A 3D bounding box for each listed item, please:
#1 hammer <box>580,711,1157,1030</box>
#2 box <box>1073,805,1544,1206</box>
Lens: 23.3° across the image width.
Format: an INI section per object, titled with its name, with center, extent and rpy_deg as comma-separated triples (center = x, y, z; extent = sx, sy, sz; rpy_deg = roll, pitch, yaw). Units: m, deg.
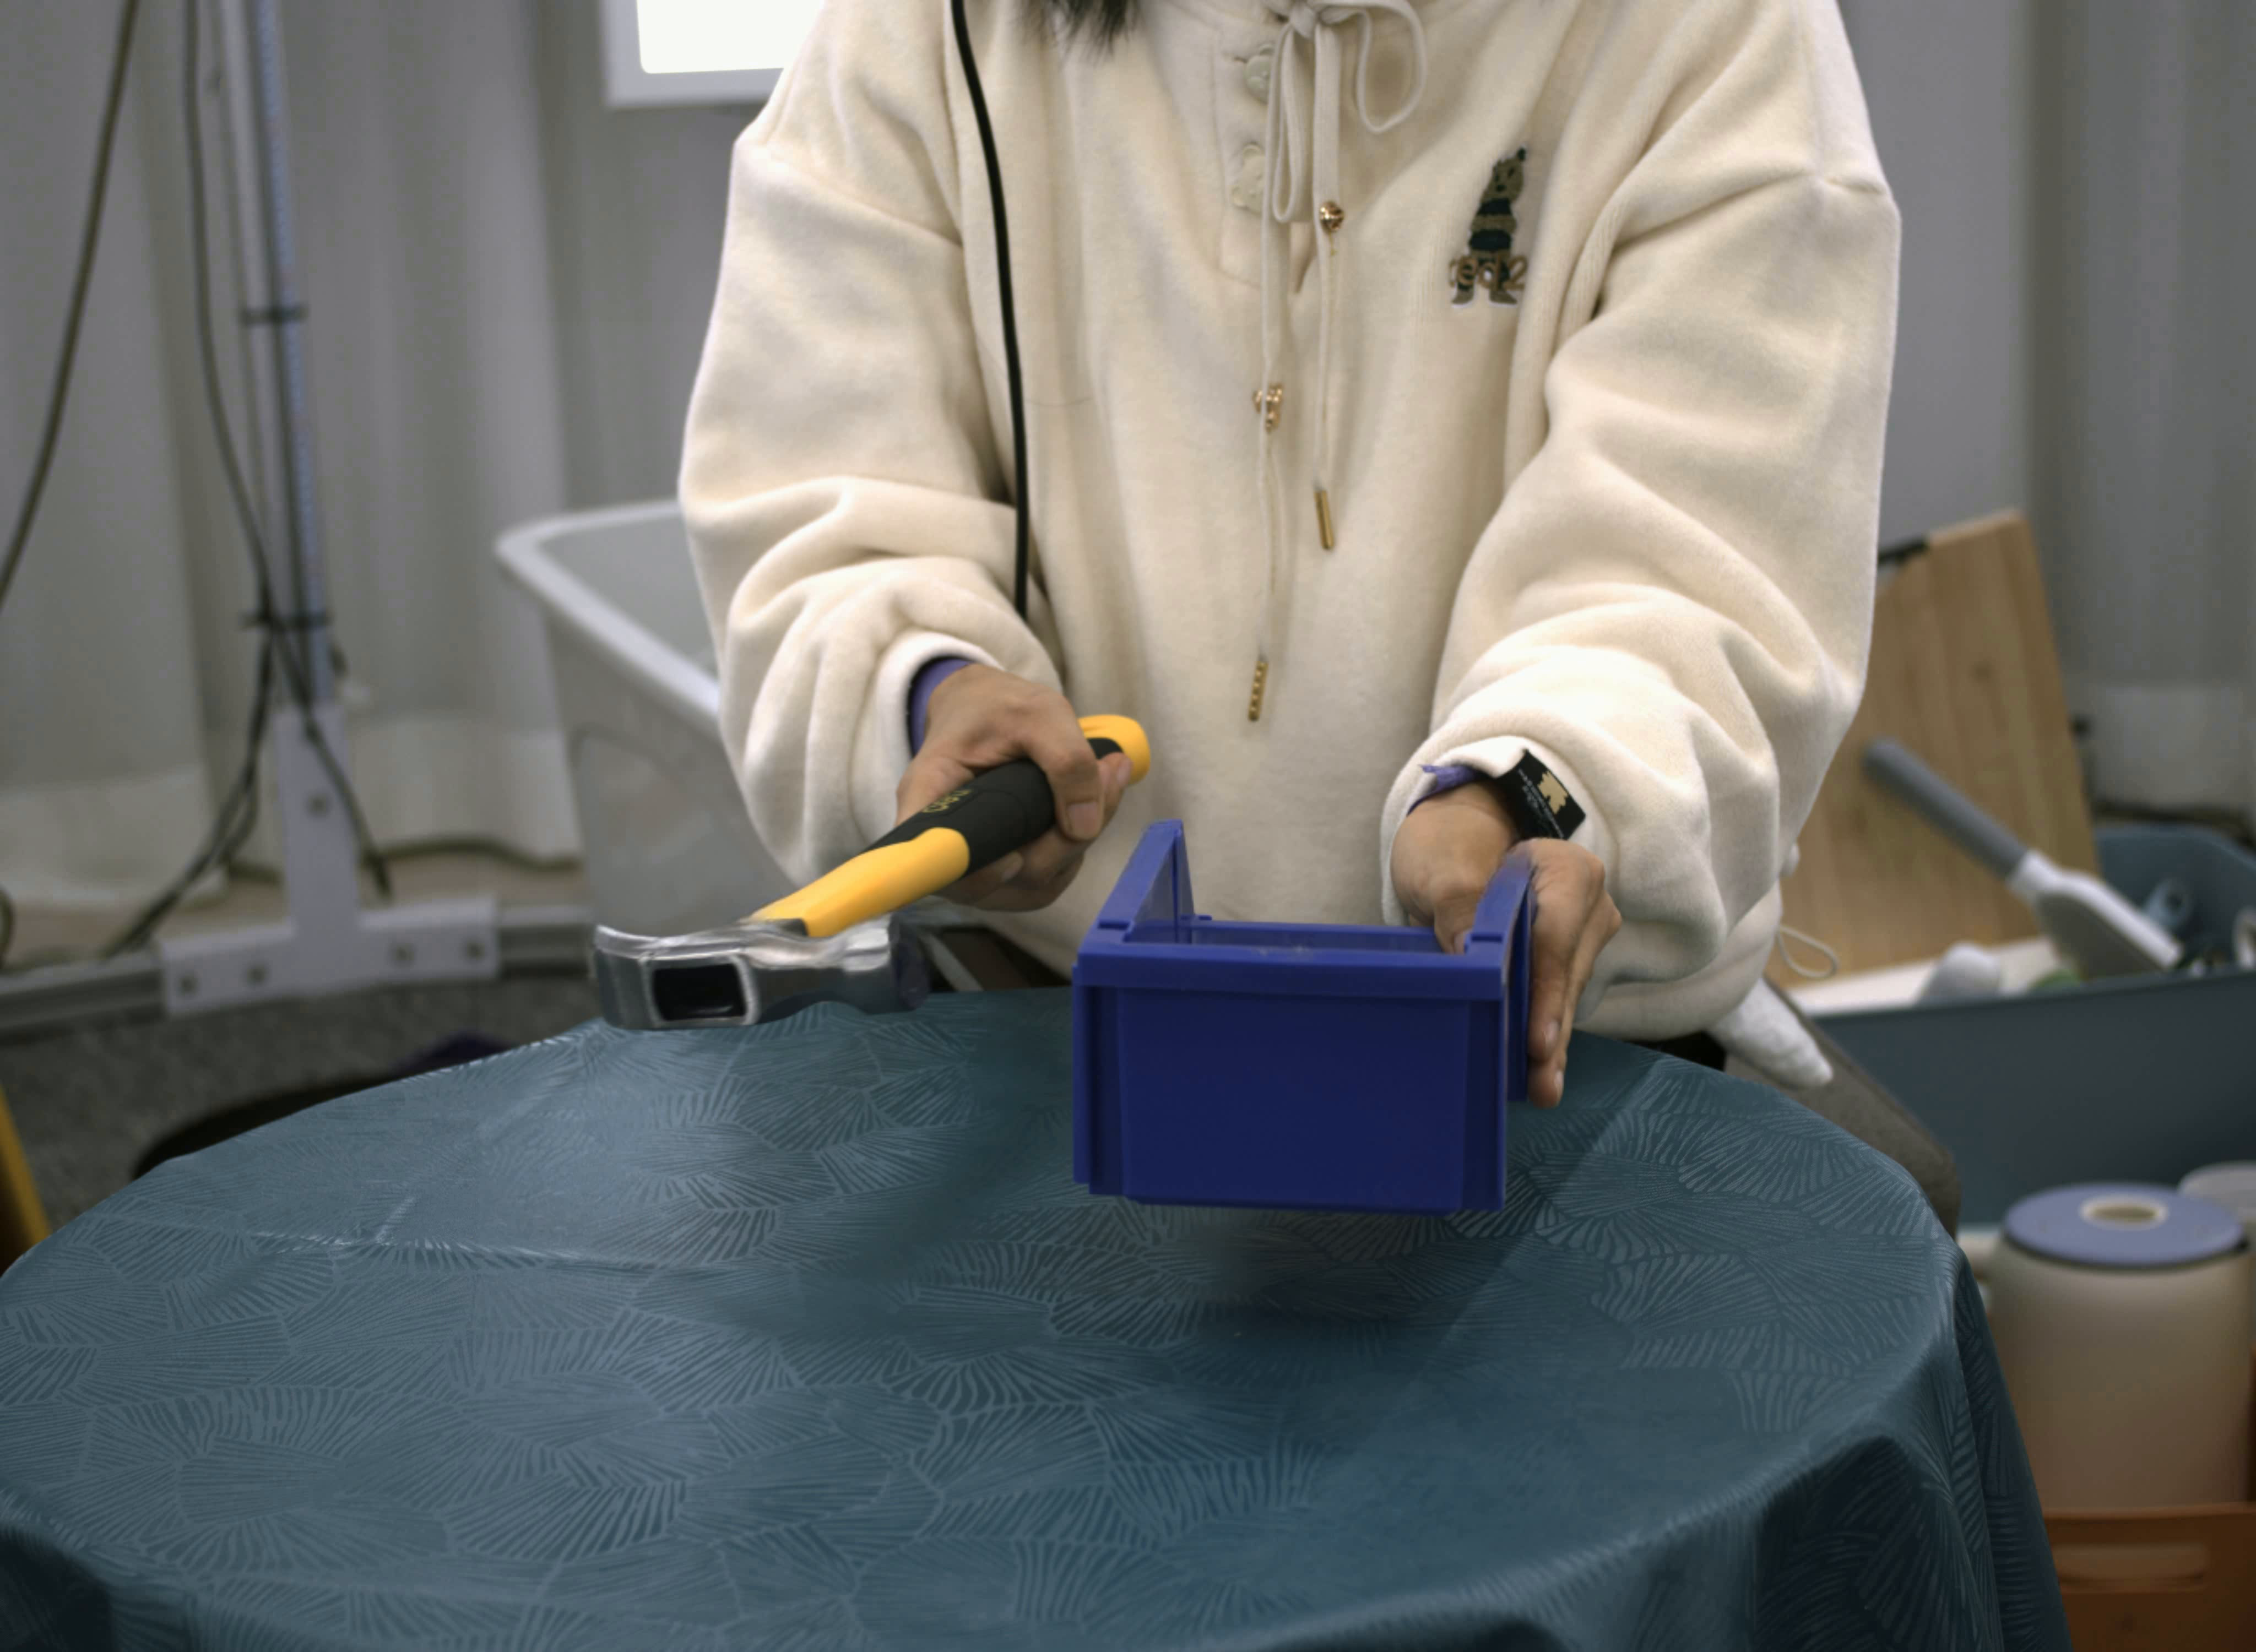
[hammer]
center = -0.066, 0.009, 1.776
extent = 0.131, 0.032, 0.339
rpy_deg = -7, 10, 23
[box]
center = 0.056, 0.049, 1.631
extent = 0.124, 0.081, 0.180
rpy_deg = 2, 16, 9
